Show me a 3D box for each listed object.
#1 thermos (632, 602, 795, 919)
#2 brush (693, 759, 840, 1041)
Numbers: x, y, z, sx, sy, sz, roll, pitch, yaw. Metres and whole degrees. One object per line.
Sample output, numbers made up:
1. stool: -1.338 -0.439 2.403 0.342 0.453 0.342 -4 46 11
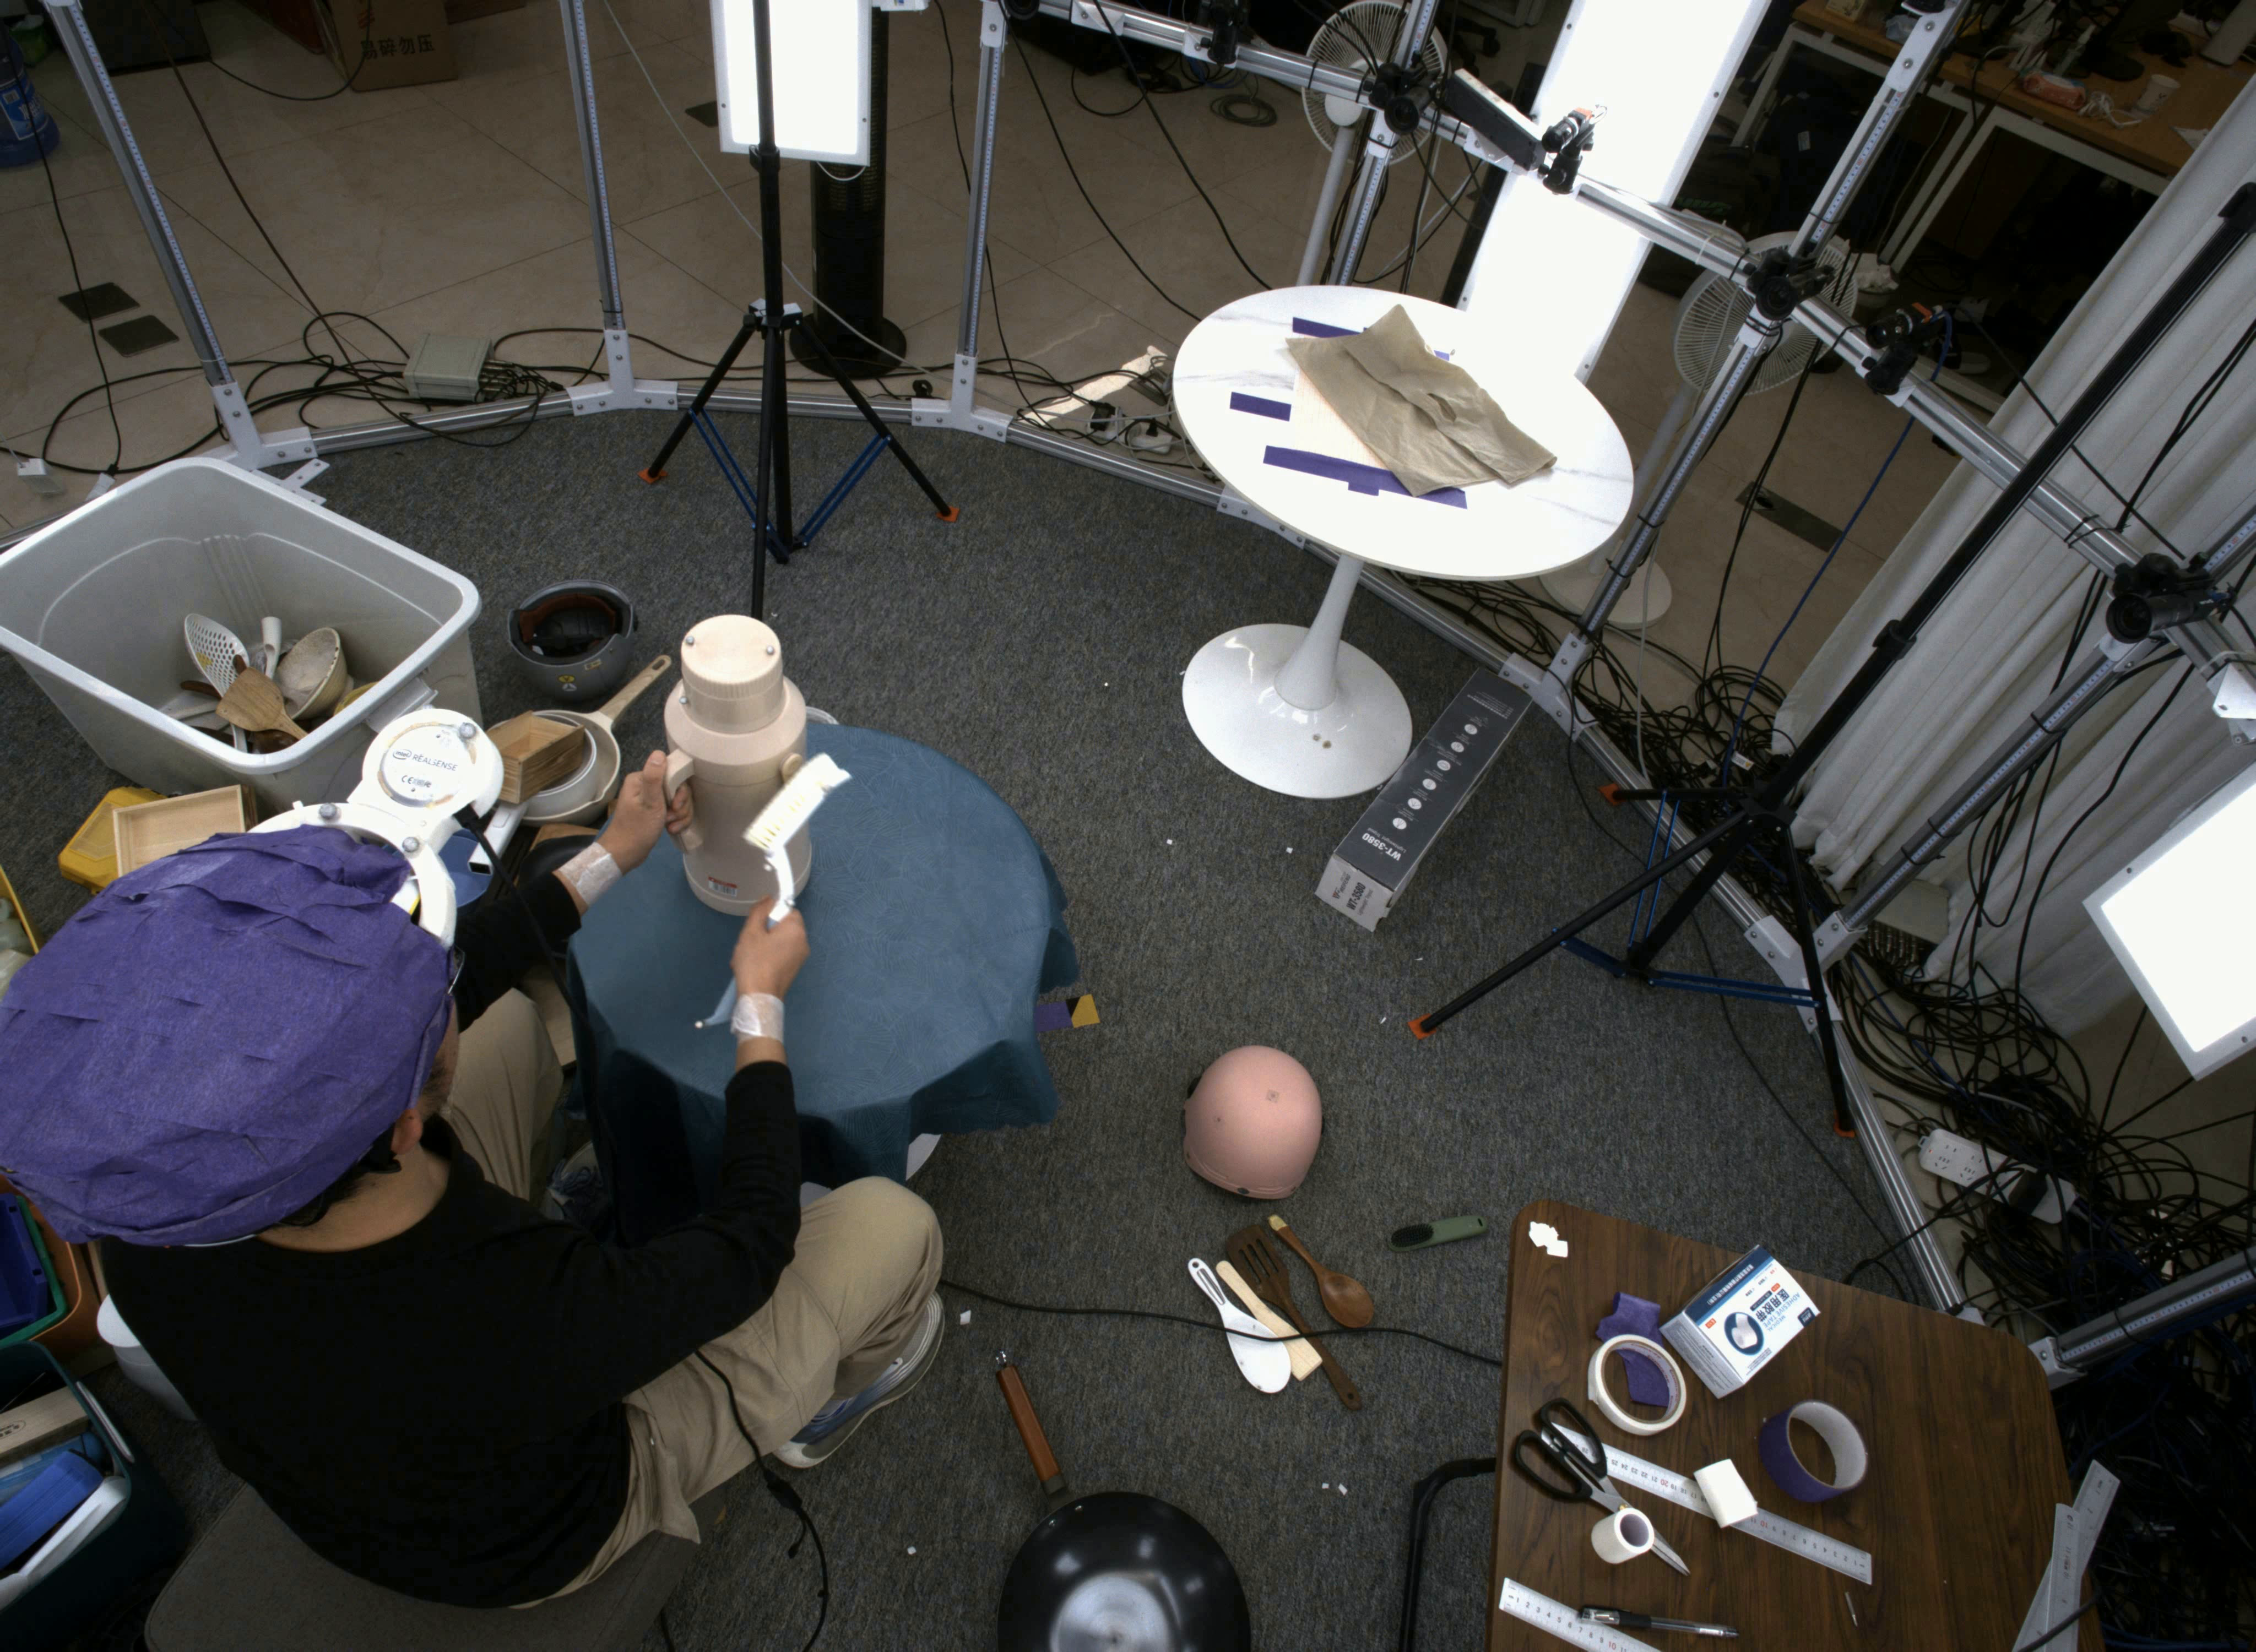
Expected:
1. thermos: -0.483 -0.064 1.494 0.172 0.414 0.206 32 52 12
2. brush: -0.417 0.069 1.398 0.082 0.085 0.326 21 78 23
